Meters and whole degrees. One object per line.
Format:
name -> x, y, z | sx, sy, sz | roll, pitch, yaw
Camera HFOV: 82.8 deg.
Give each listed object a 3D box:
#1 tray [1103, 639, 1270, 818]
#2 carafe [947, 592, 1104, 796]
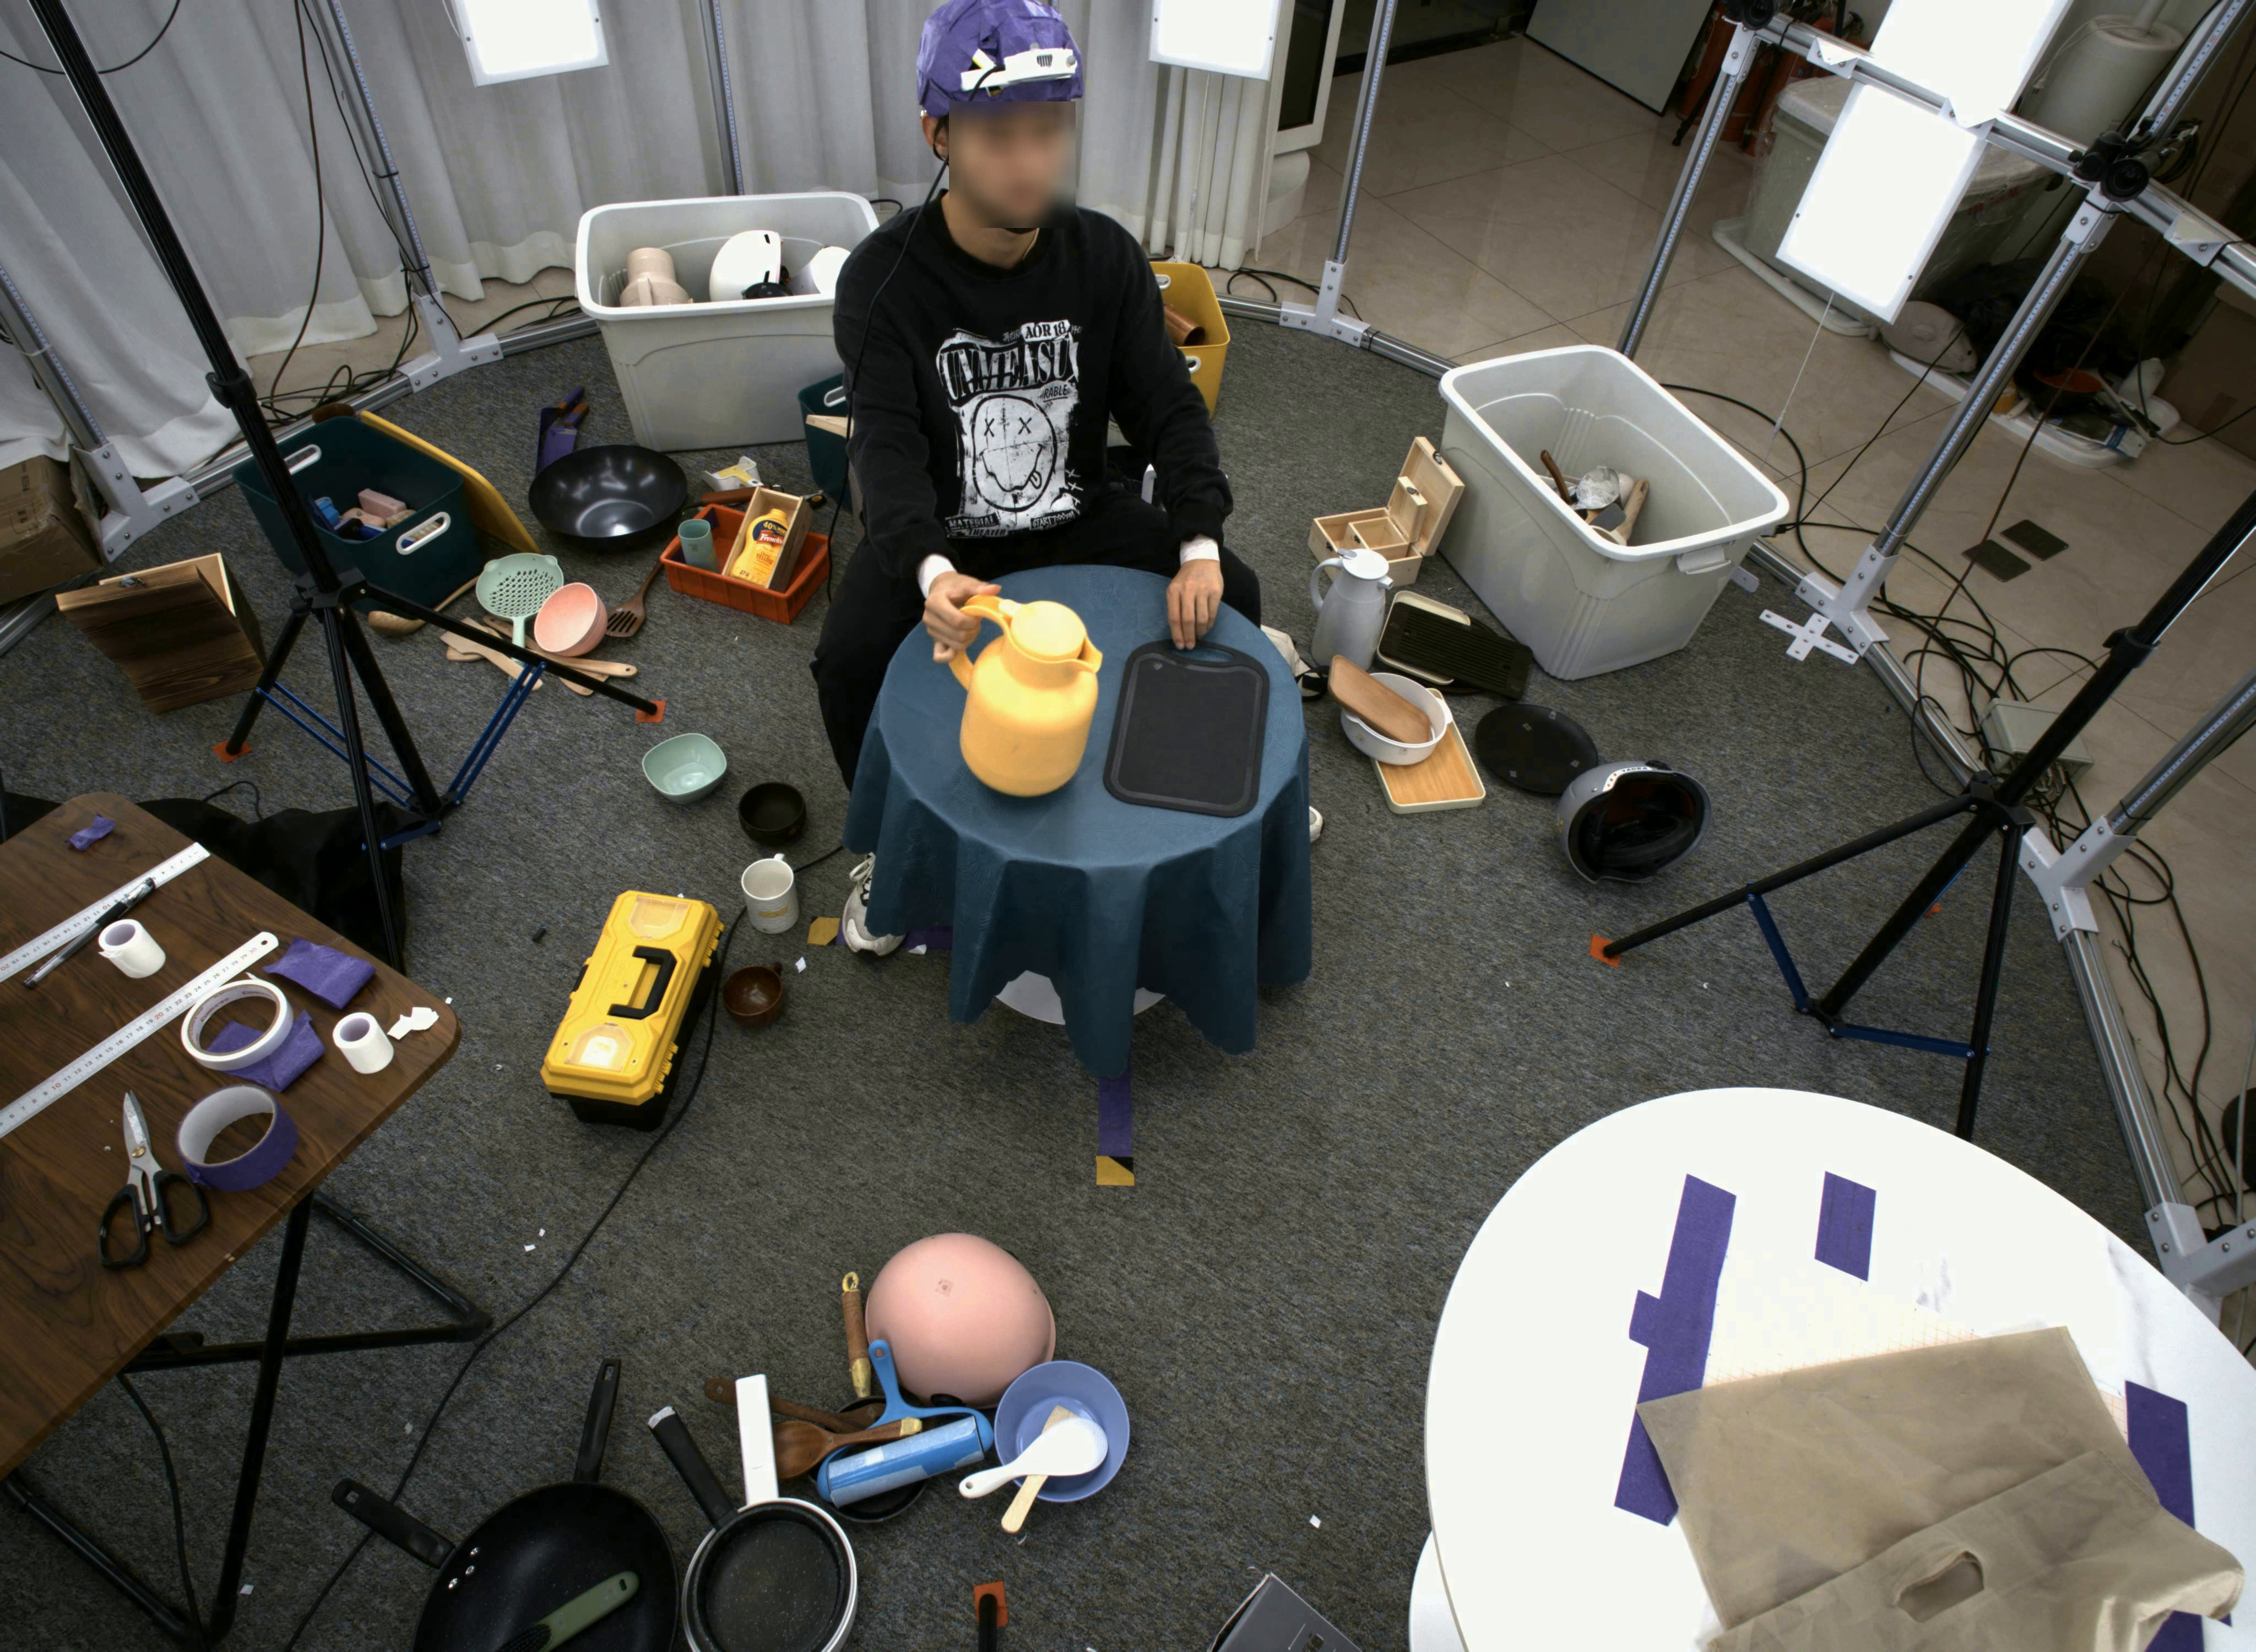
tray -> 0.087, -0.148, 1.792 | 0.211, 0.009, 0.333 | 9, 51, 3
carafe -> -0.136, -0.176, 1.611 | 0.203, 0.255, 0.166 | 31, 51, 7
